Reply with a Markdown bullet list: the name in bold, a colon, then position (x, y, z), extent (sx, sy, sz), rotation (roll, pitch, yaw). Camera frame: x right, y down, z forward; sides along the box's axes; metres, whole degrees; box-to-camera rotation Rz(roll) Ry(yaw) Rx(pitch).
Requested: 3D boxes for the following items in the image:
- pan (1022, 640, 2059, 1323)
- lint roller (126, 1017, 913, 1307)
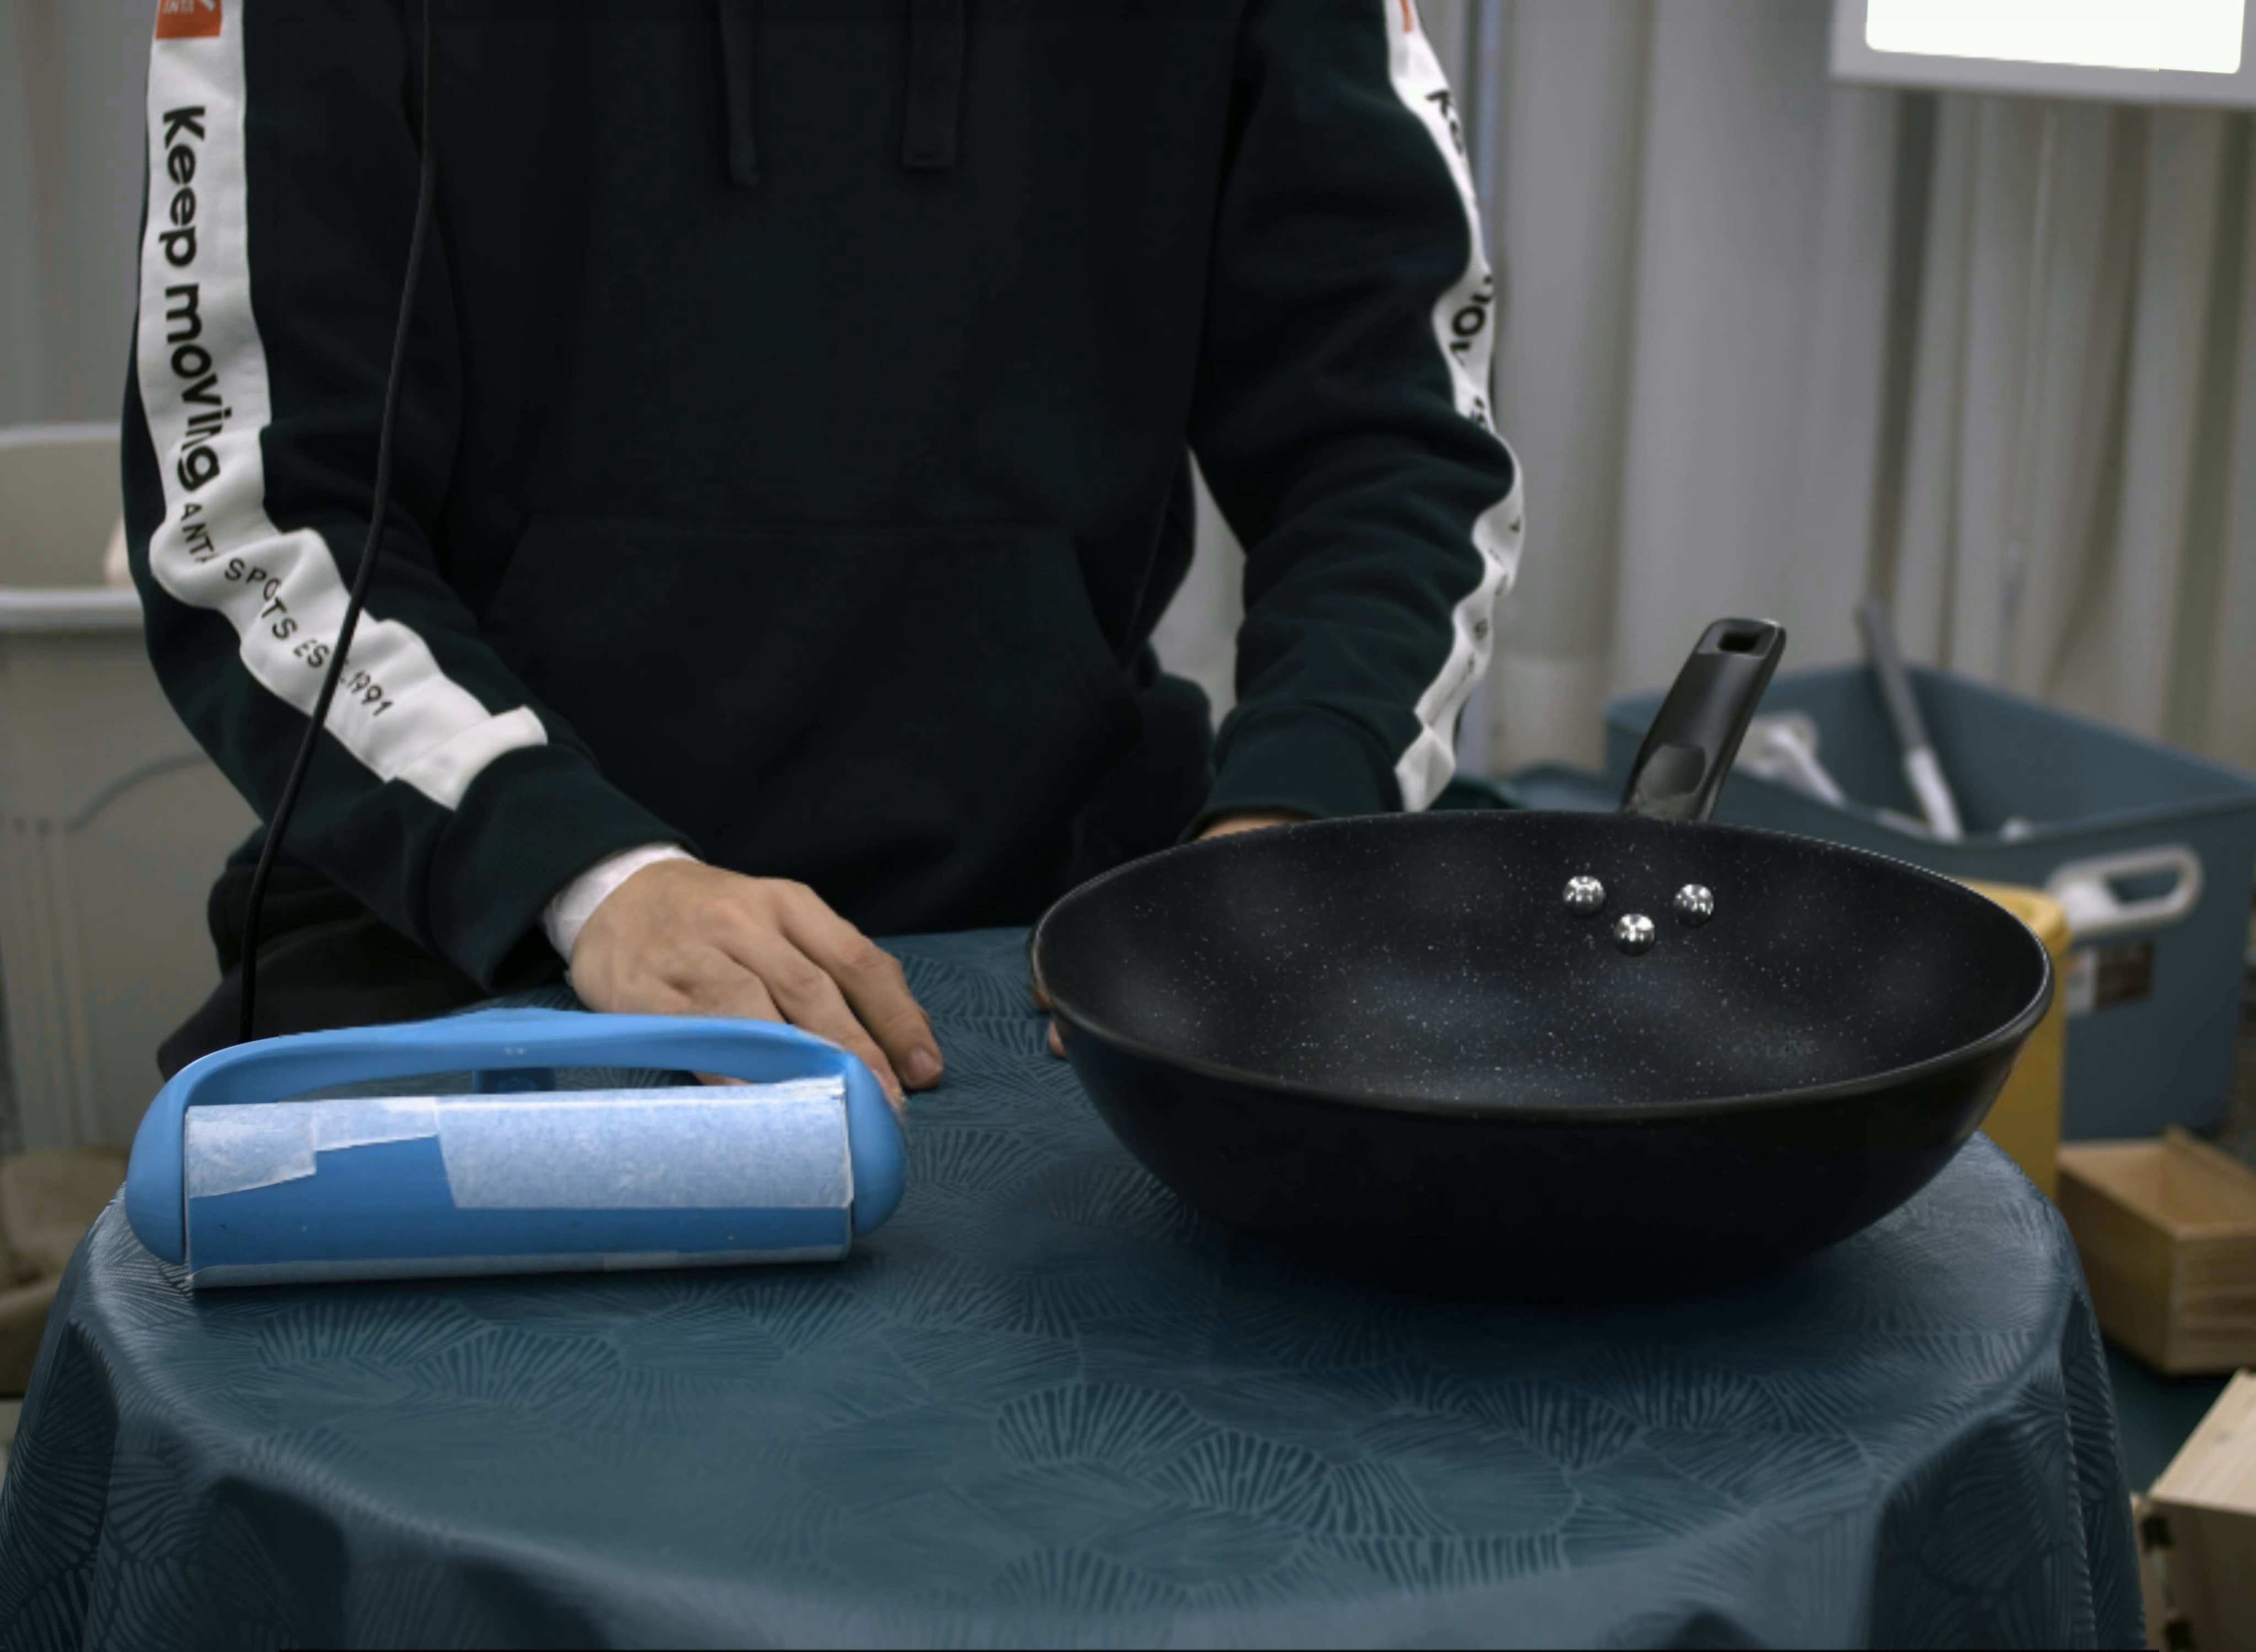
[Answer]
- **pan**: position (0.147, 0.047, 1.659), extent (0.307, 0.112, 0.477), rotation (7, 17, 15)
- **lint roller**: position (-0.188, 0.089, 1.594), extent (0.229, 0.068, 0.178), rotation (-5, 18, -10)
